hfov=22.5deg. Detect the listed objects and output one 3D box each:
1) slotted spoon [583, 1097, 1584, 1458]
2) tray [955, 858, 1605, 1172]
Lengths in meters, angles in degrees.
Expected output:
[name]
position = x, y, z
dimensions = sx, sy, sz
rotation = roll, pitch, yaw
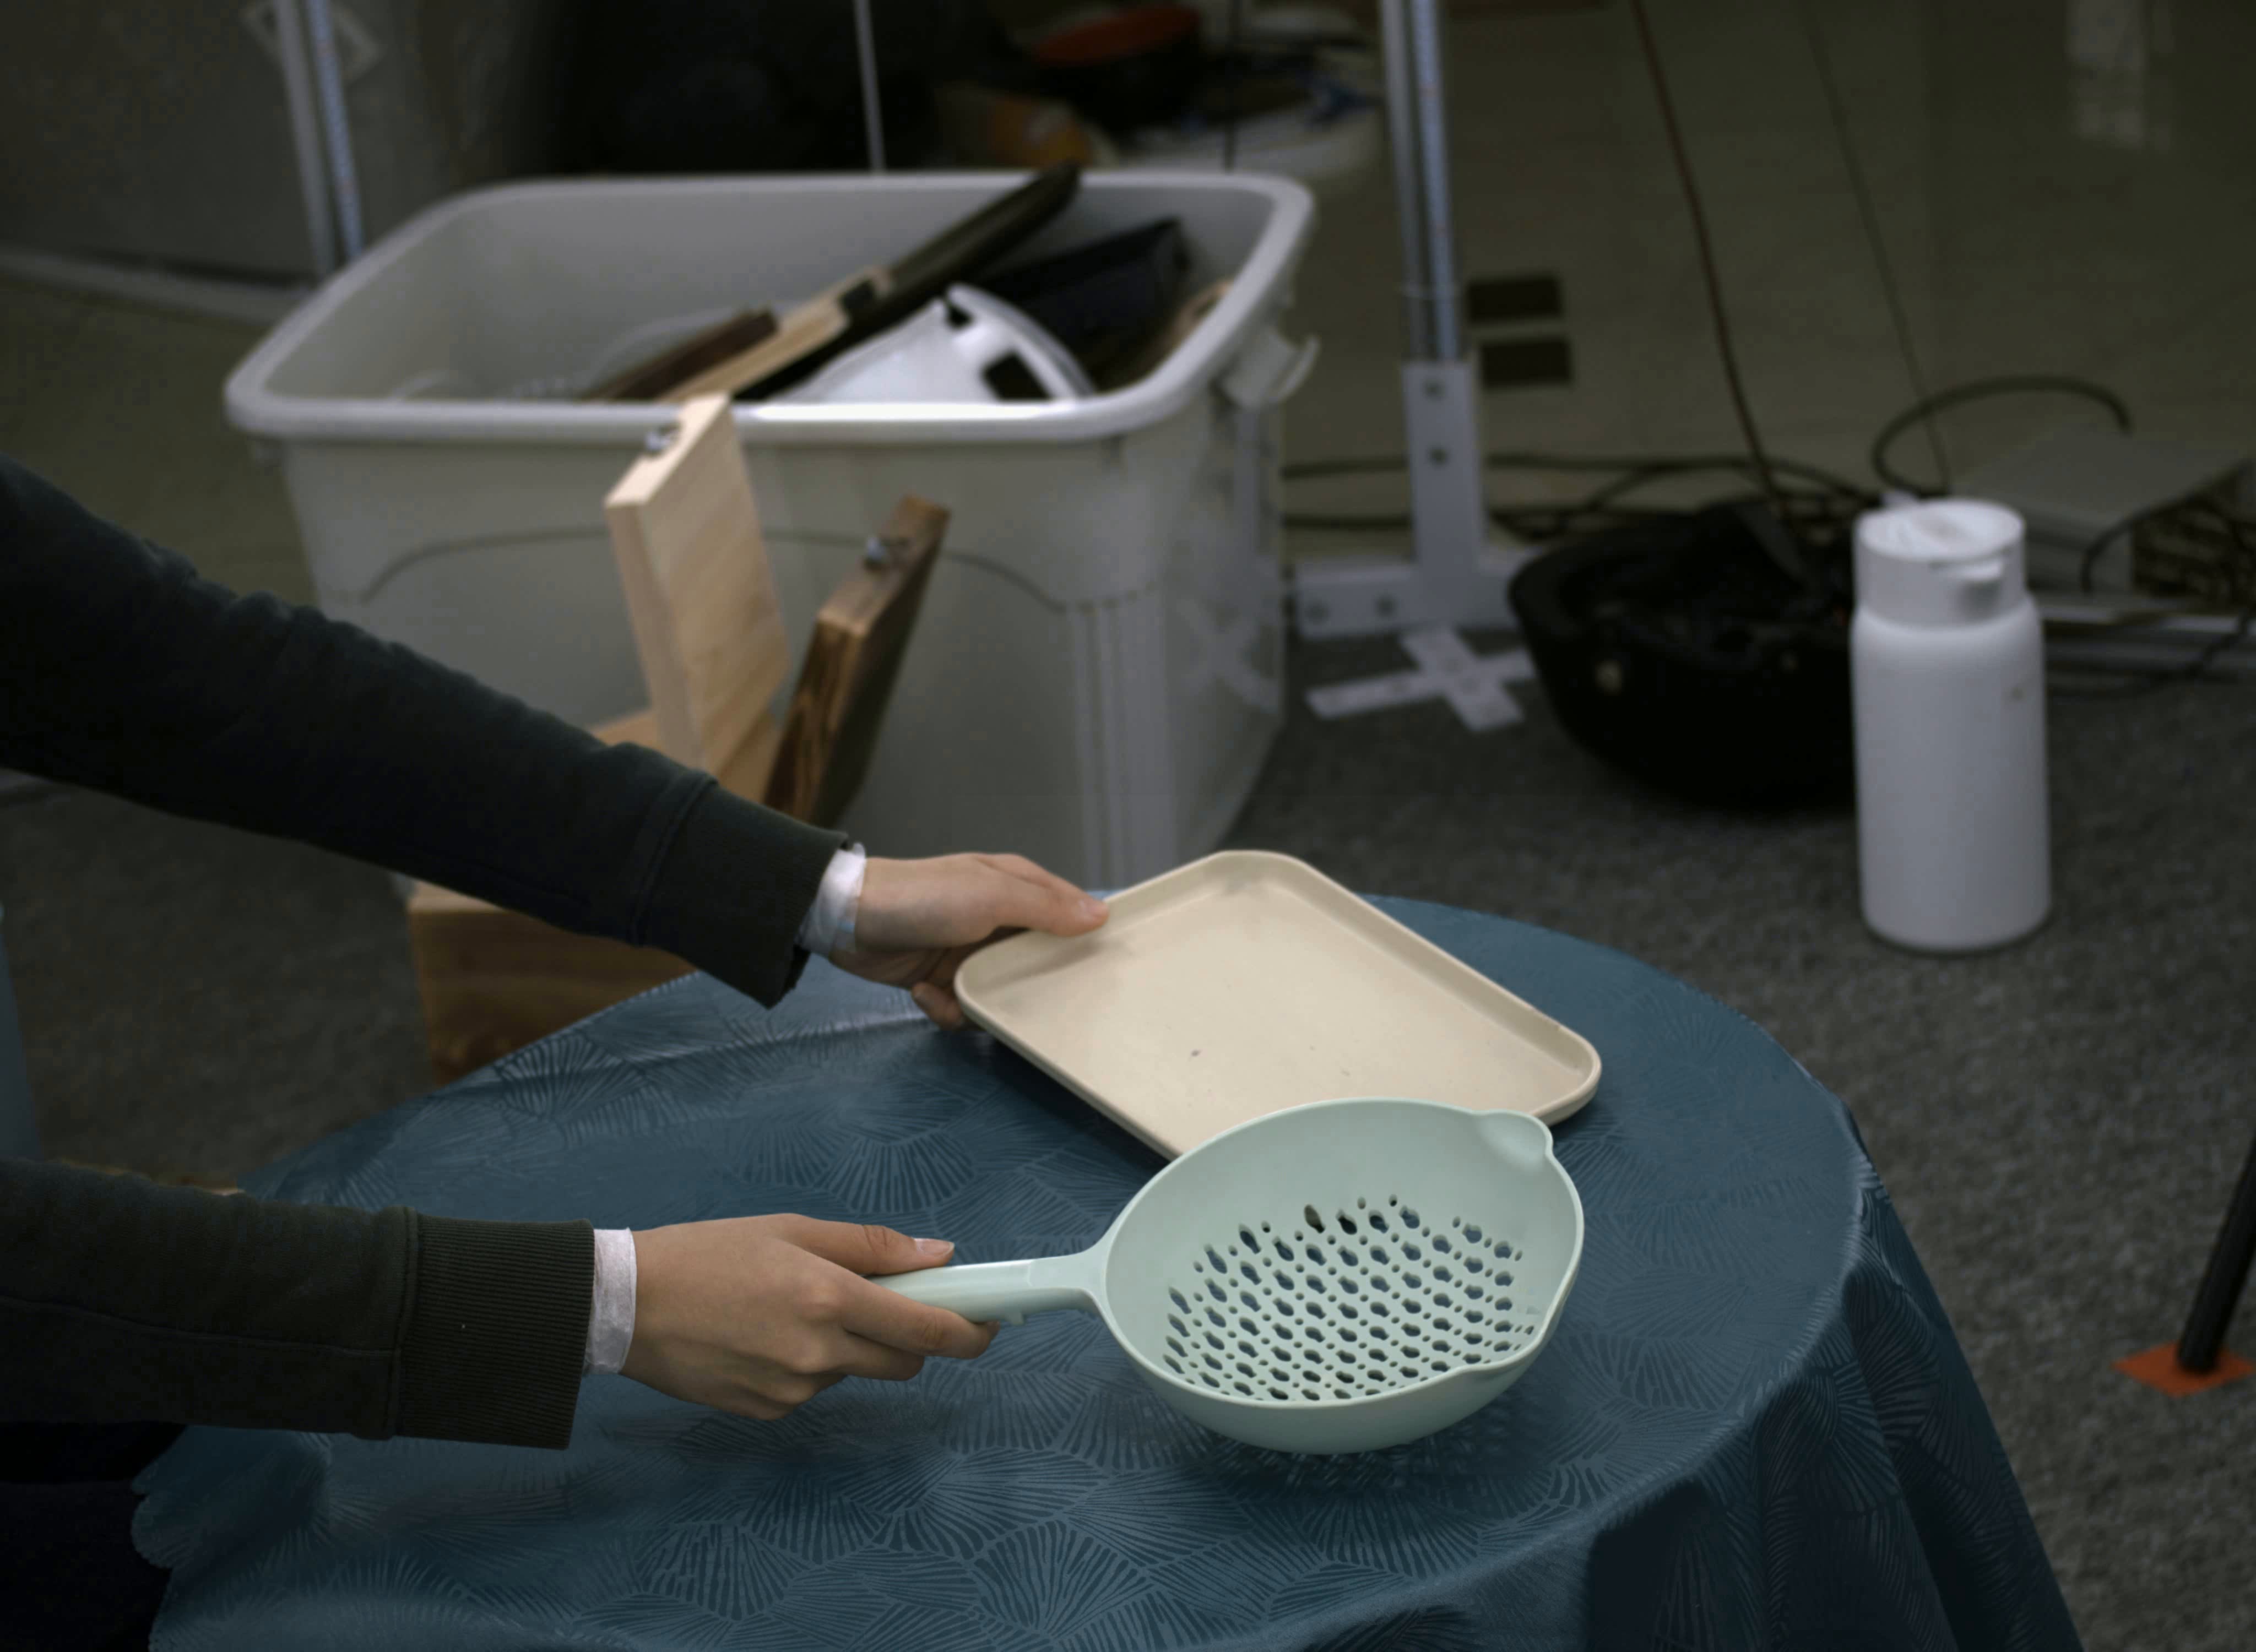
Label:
[slotted spoon]
position = -0.019, 0.167, 2.000
dimensions = 0.358, 0.077, 0.166
rotation = 1, 35, 6
[tray]
position = 0.057, 0.084, 2.212
dimensions = 0.170, 0.018, 0.237
rotation = -22, 34, -30
